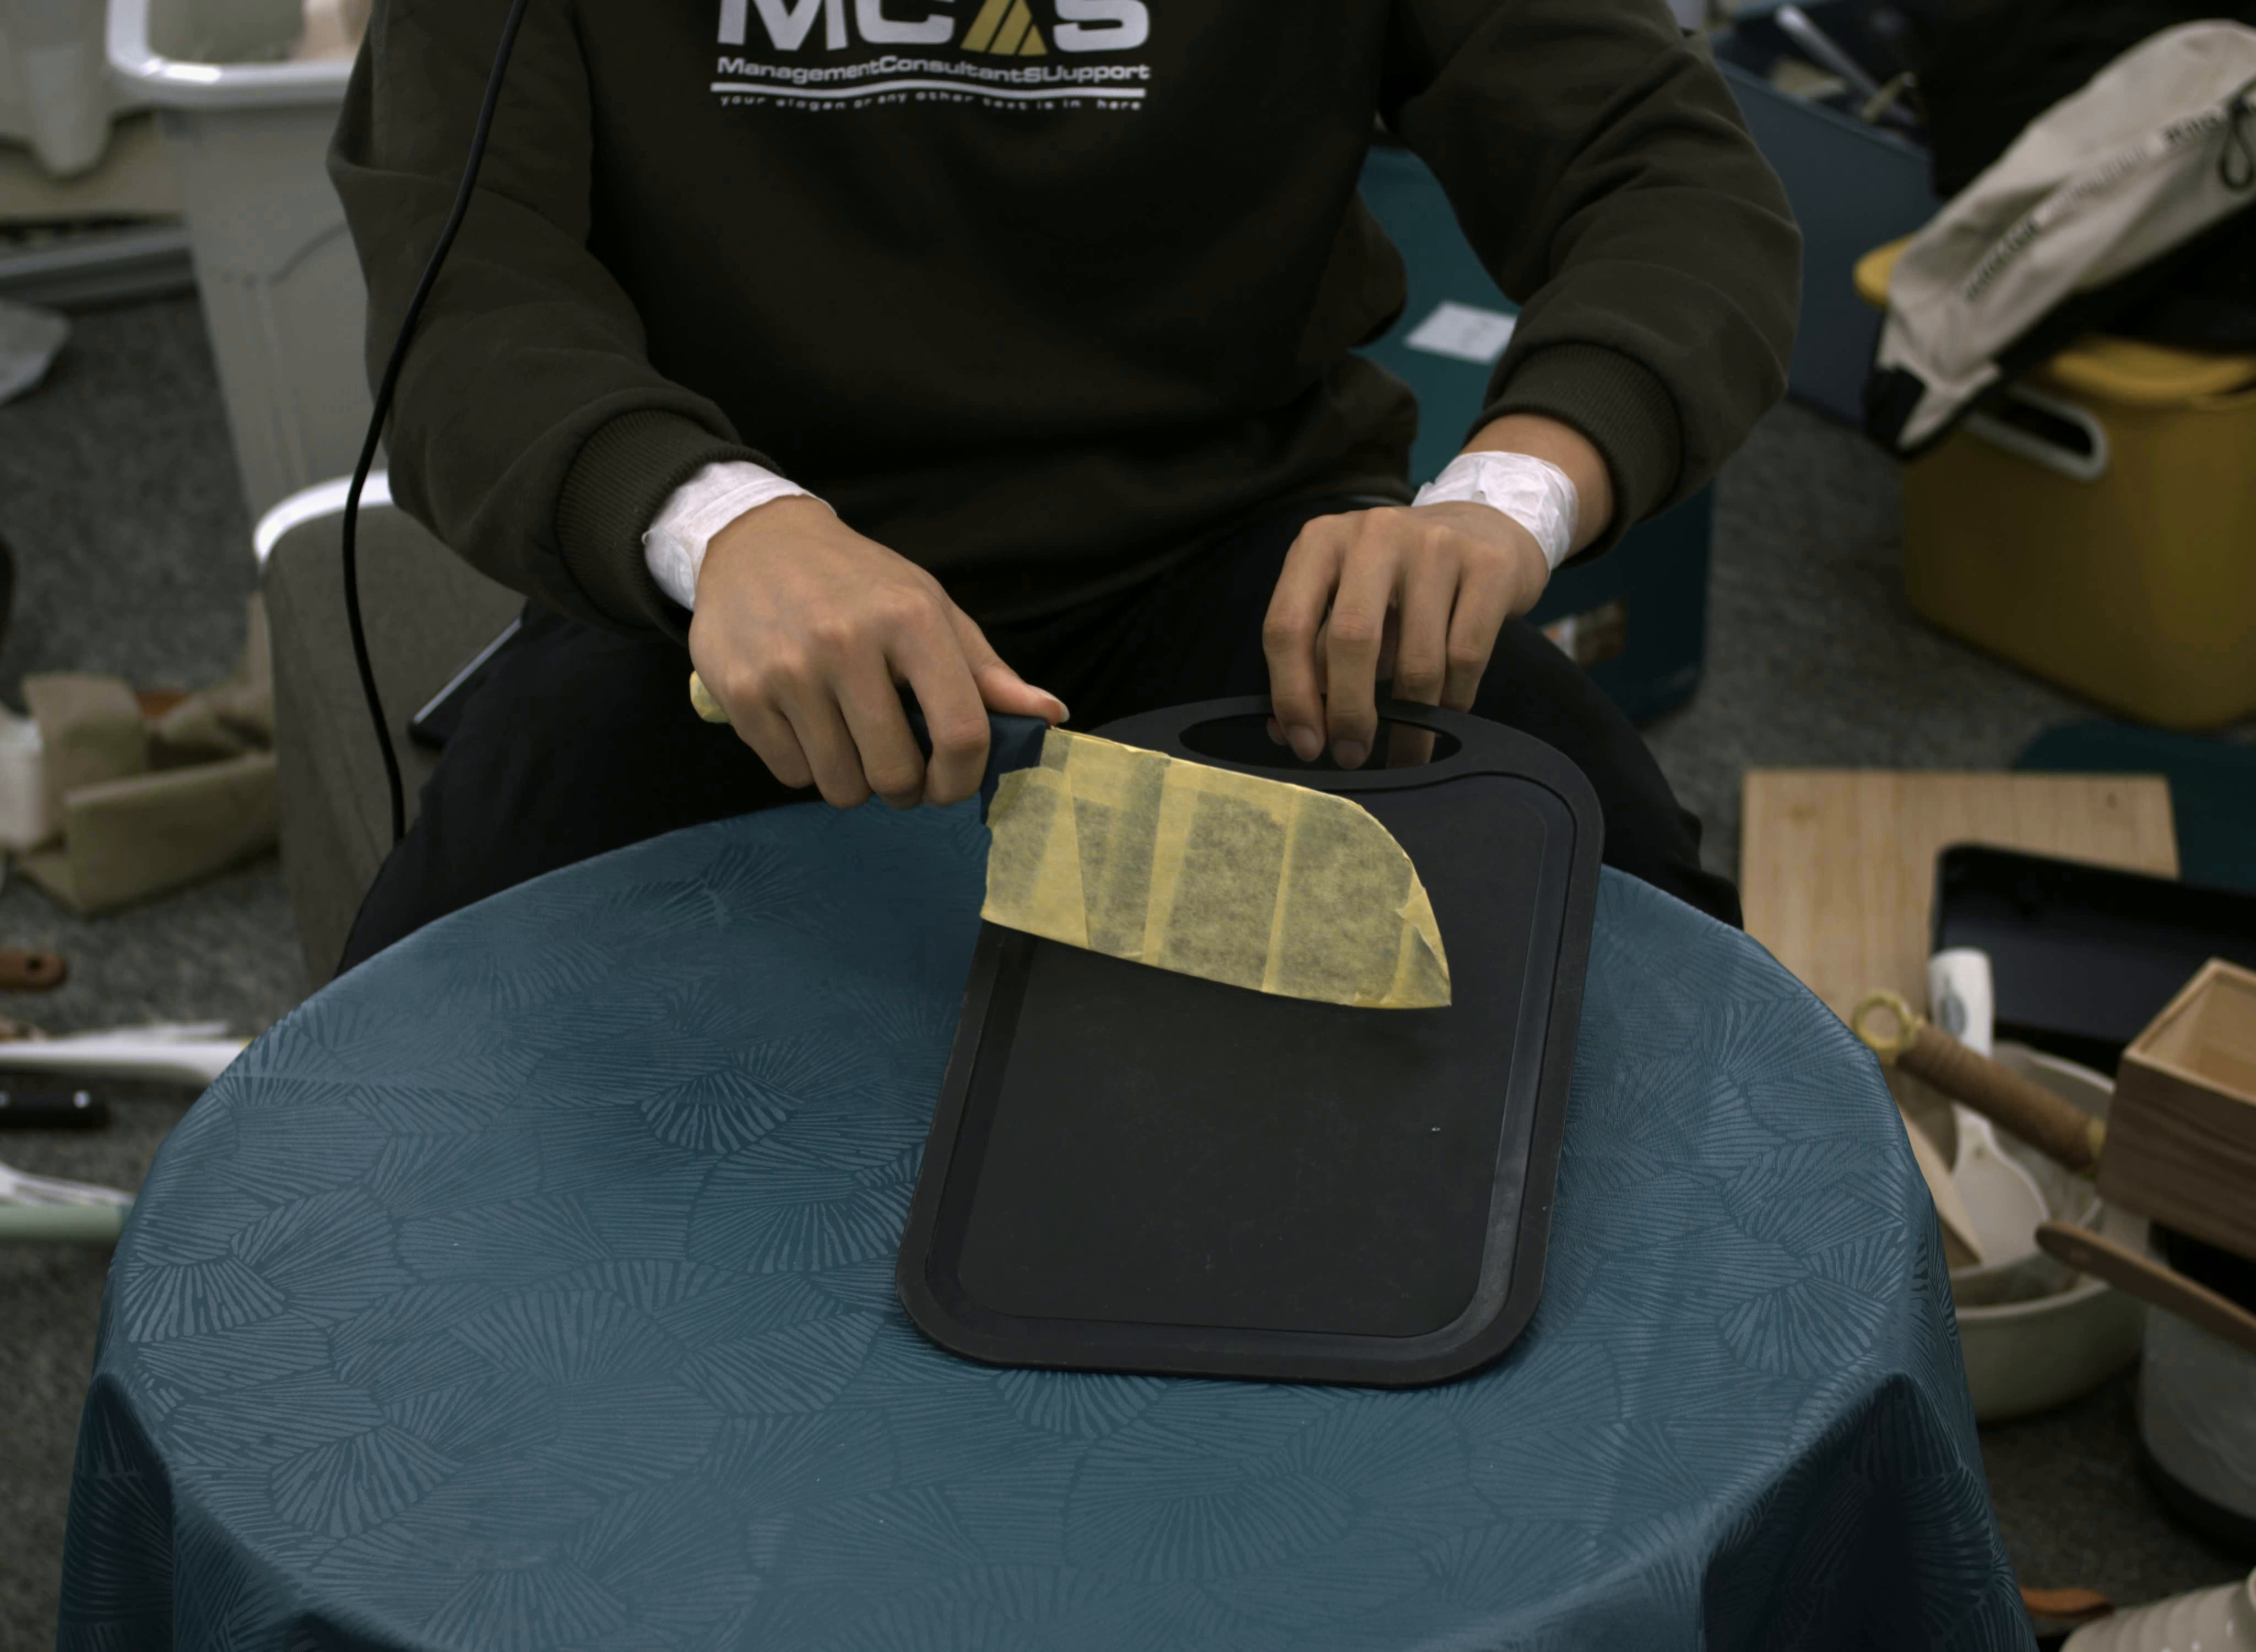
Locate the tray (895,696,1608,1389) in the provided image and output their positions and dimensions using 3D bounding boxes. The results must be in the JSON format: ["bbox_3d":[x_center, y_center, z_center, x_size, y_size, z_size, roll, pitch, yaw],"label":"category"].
[{"bbox_3d":[0.046,0.062,1.878,0.210,0.009,0.332,3,42,10],"label":"tray"}]

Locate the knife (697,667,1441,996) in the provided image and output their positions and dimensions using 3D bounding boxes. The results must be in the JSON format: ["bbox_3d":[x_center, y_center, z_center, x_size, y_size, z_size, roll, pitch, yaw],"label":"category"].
[{"bbox_3d":[-0.023,0.000,1.910,0.288,0.081,0.027,17,10,23],"label":"knife"}]
